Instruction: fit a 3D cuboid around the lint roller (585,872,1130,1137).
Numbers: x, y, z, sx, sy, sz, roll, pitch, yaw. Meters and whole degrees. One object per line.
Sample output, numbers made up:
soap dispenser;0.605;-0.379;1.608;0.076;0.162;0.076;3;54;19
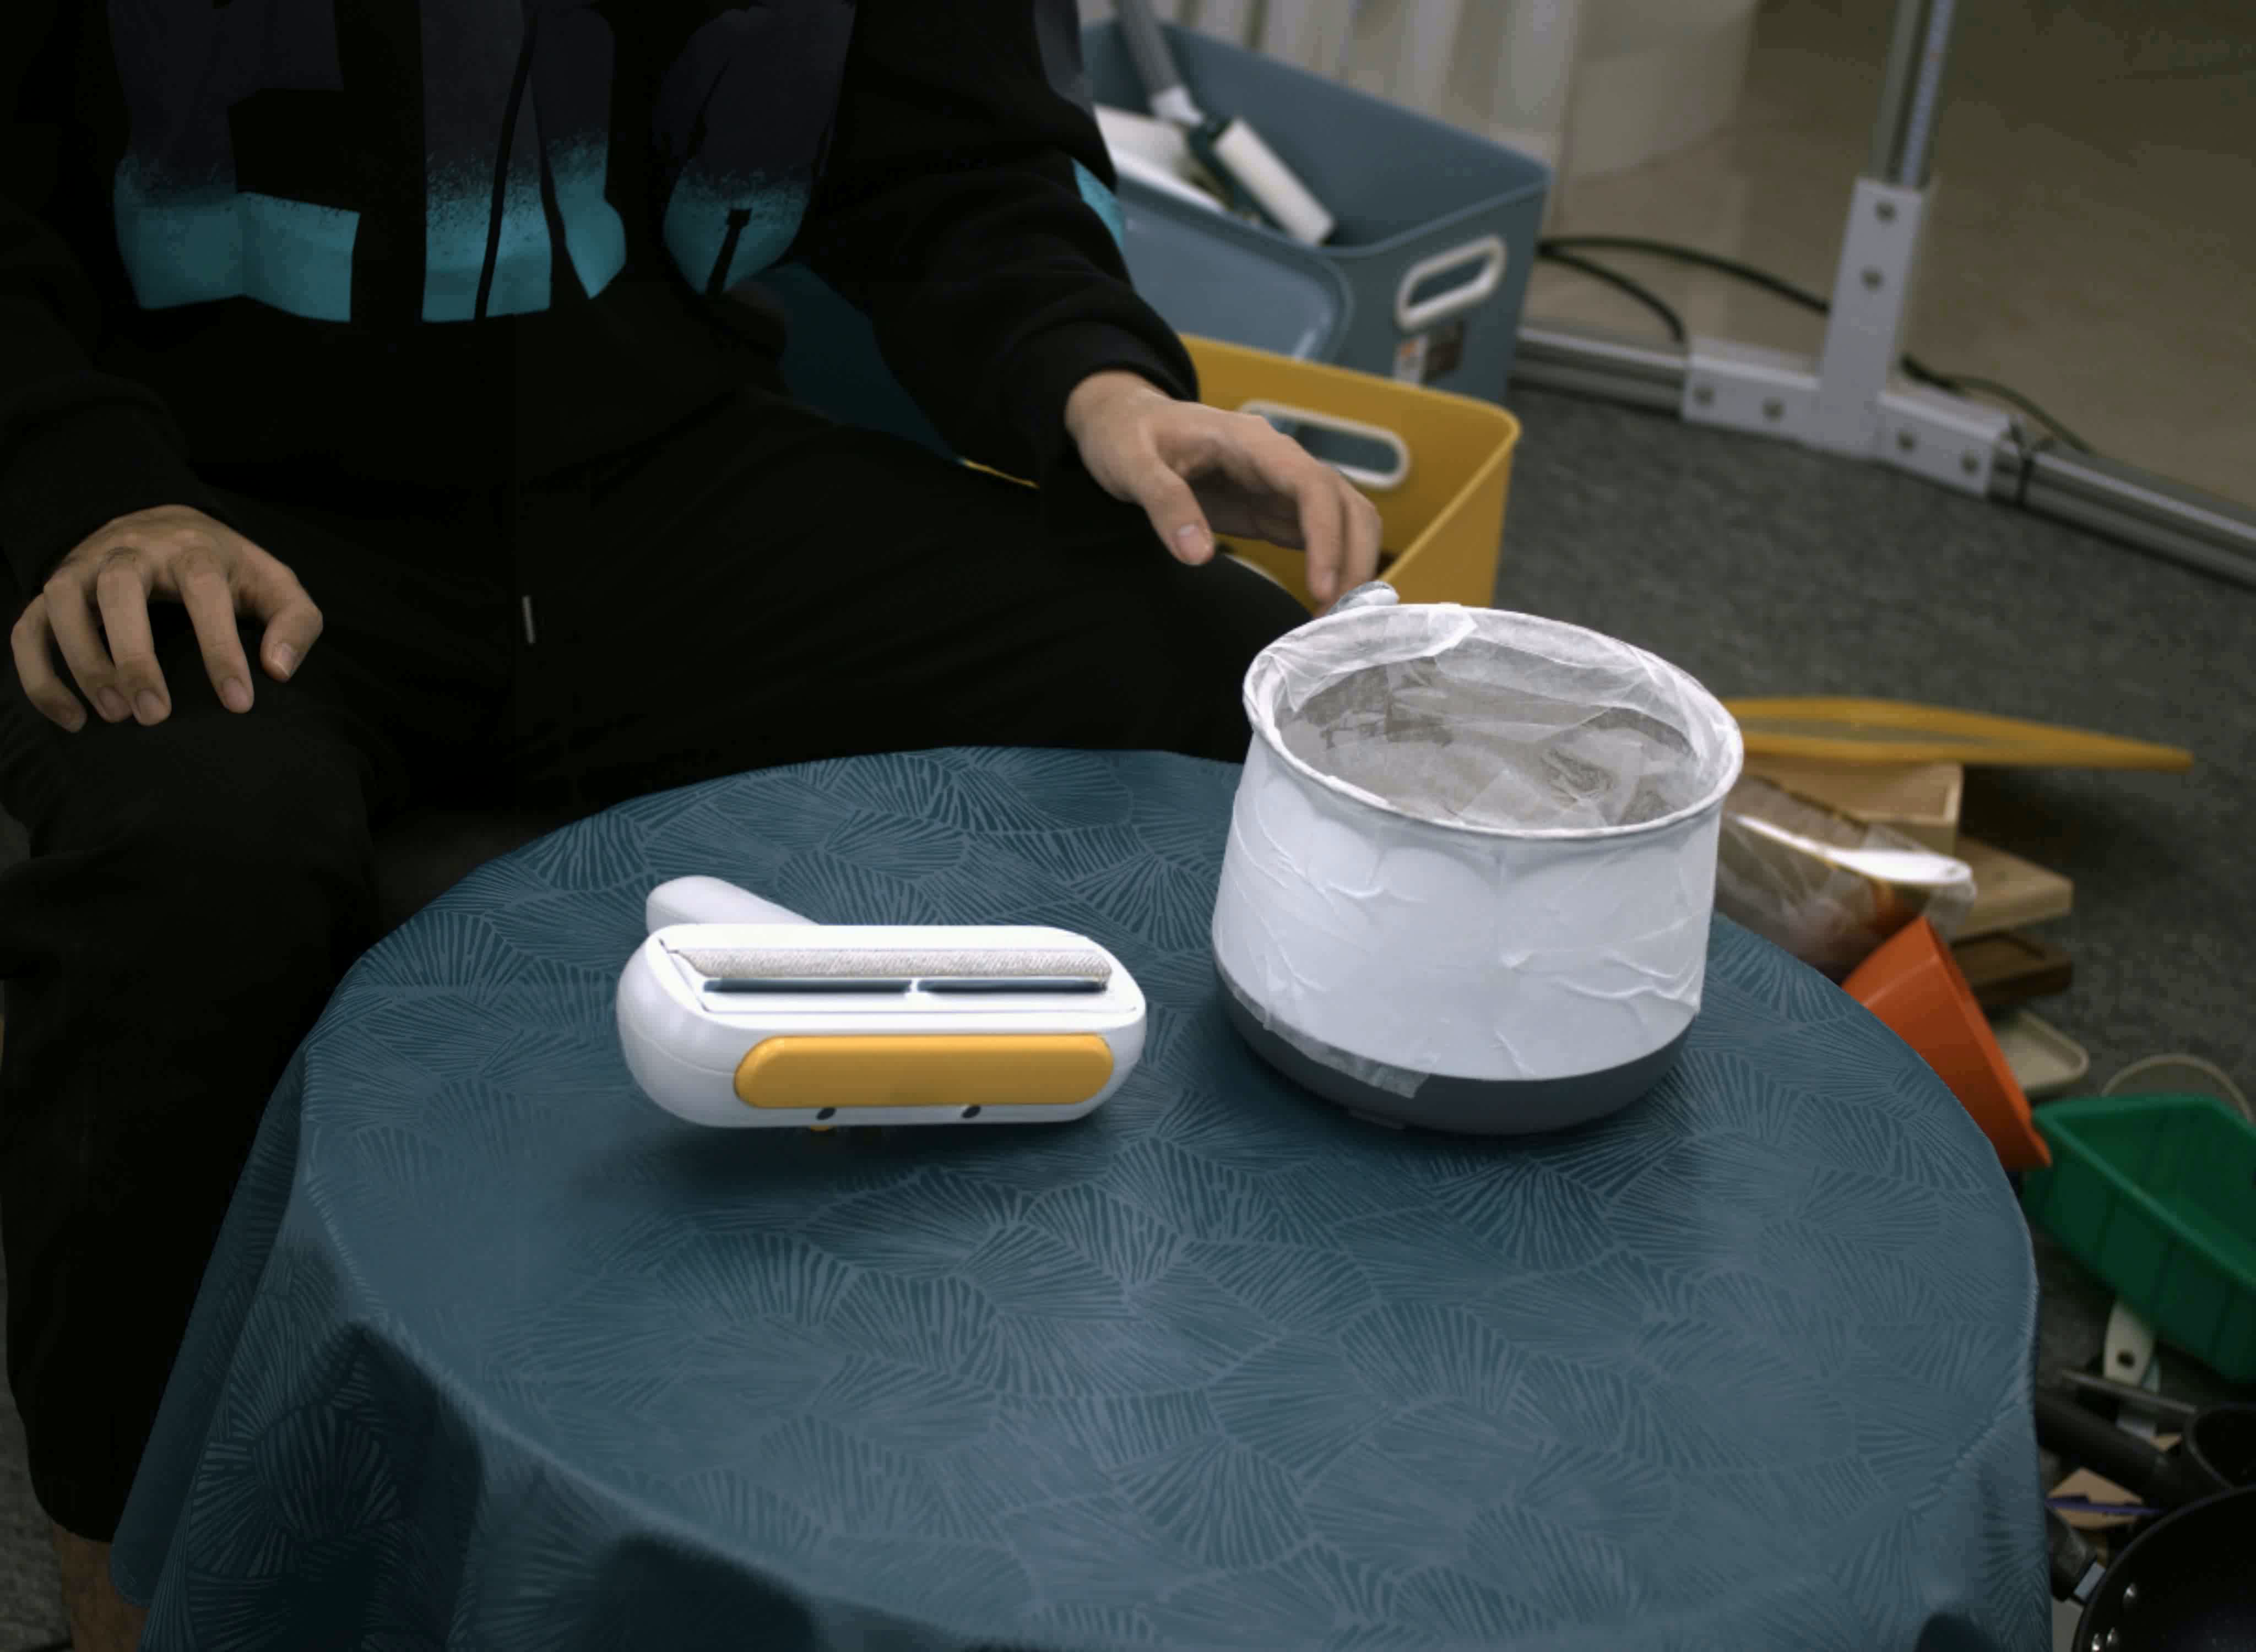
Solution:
lint roller;-0.116;0.049;1.846;0.191;0.074;0.194;-2;26;-27

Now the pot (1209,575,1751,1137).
pot;0.110;0.004;1.905;0.177;0.136;0.236;-4;30;-24
